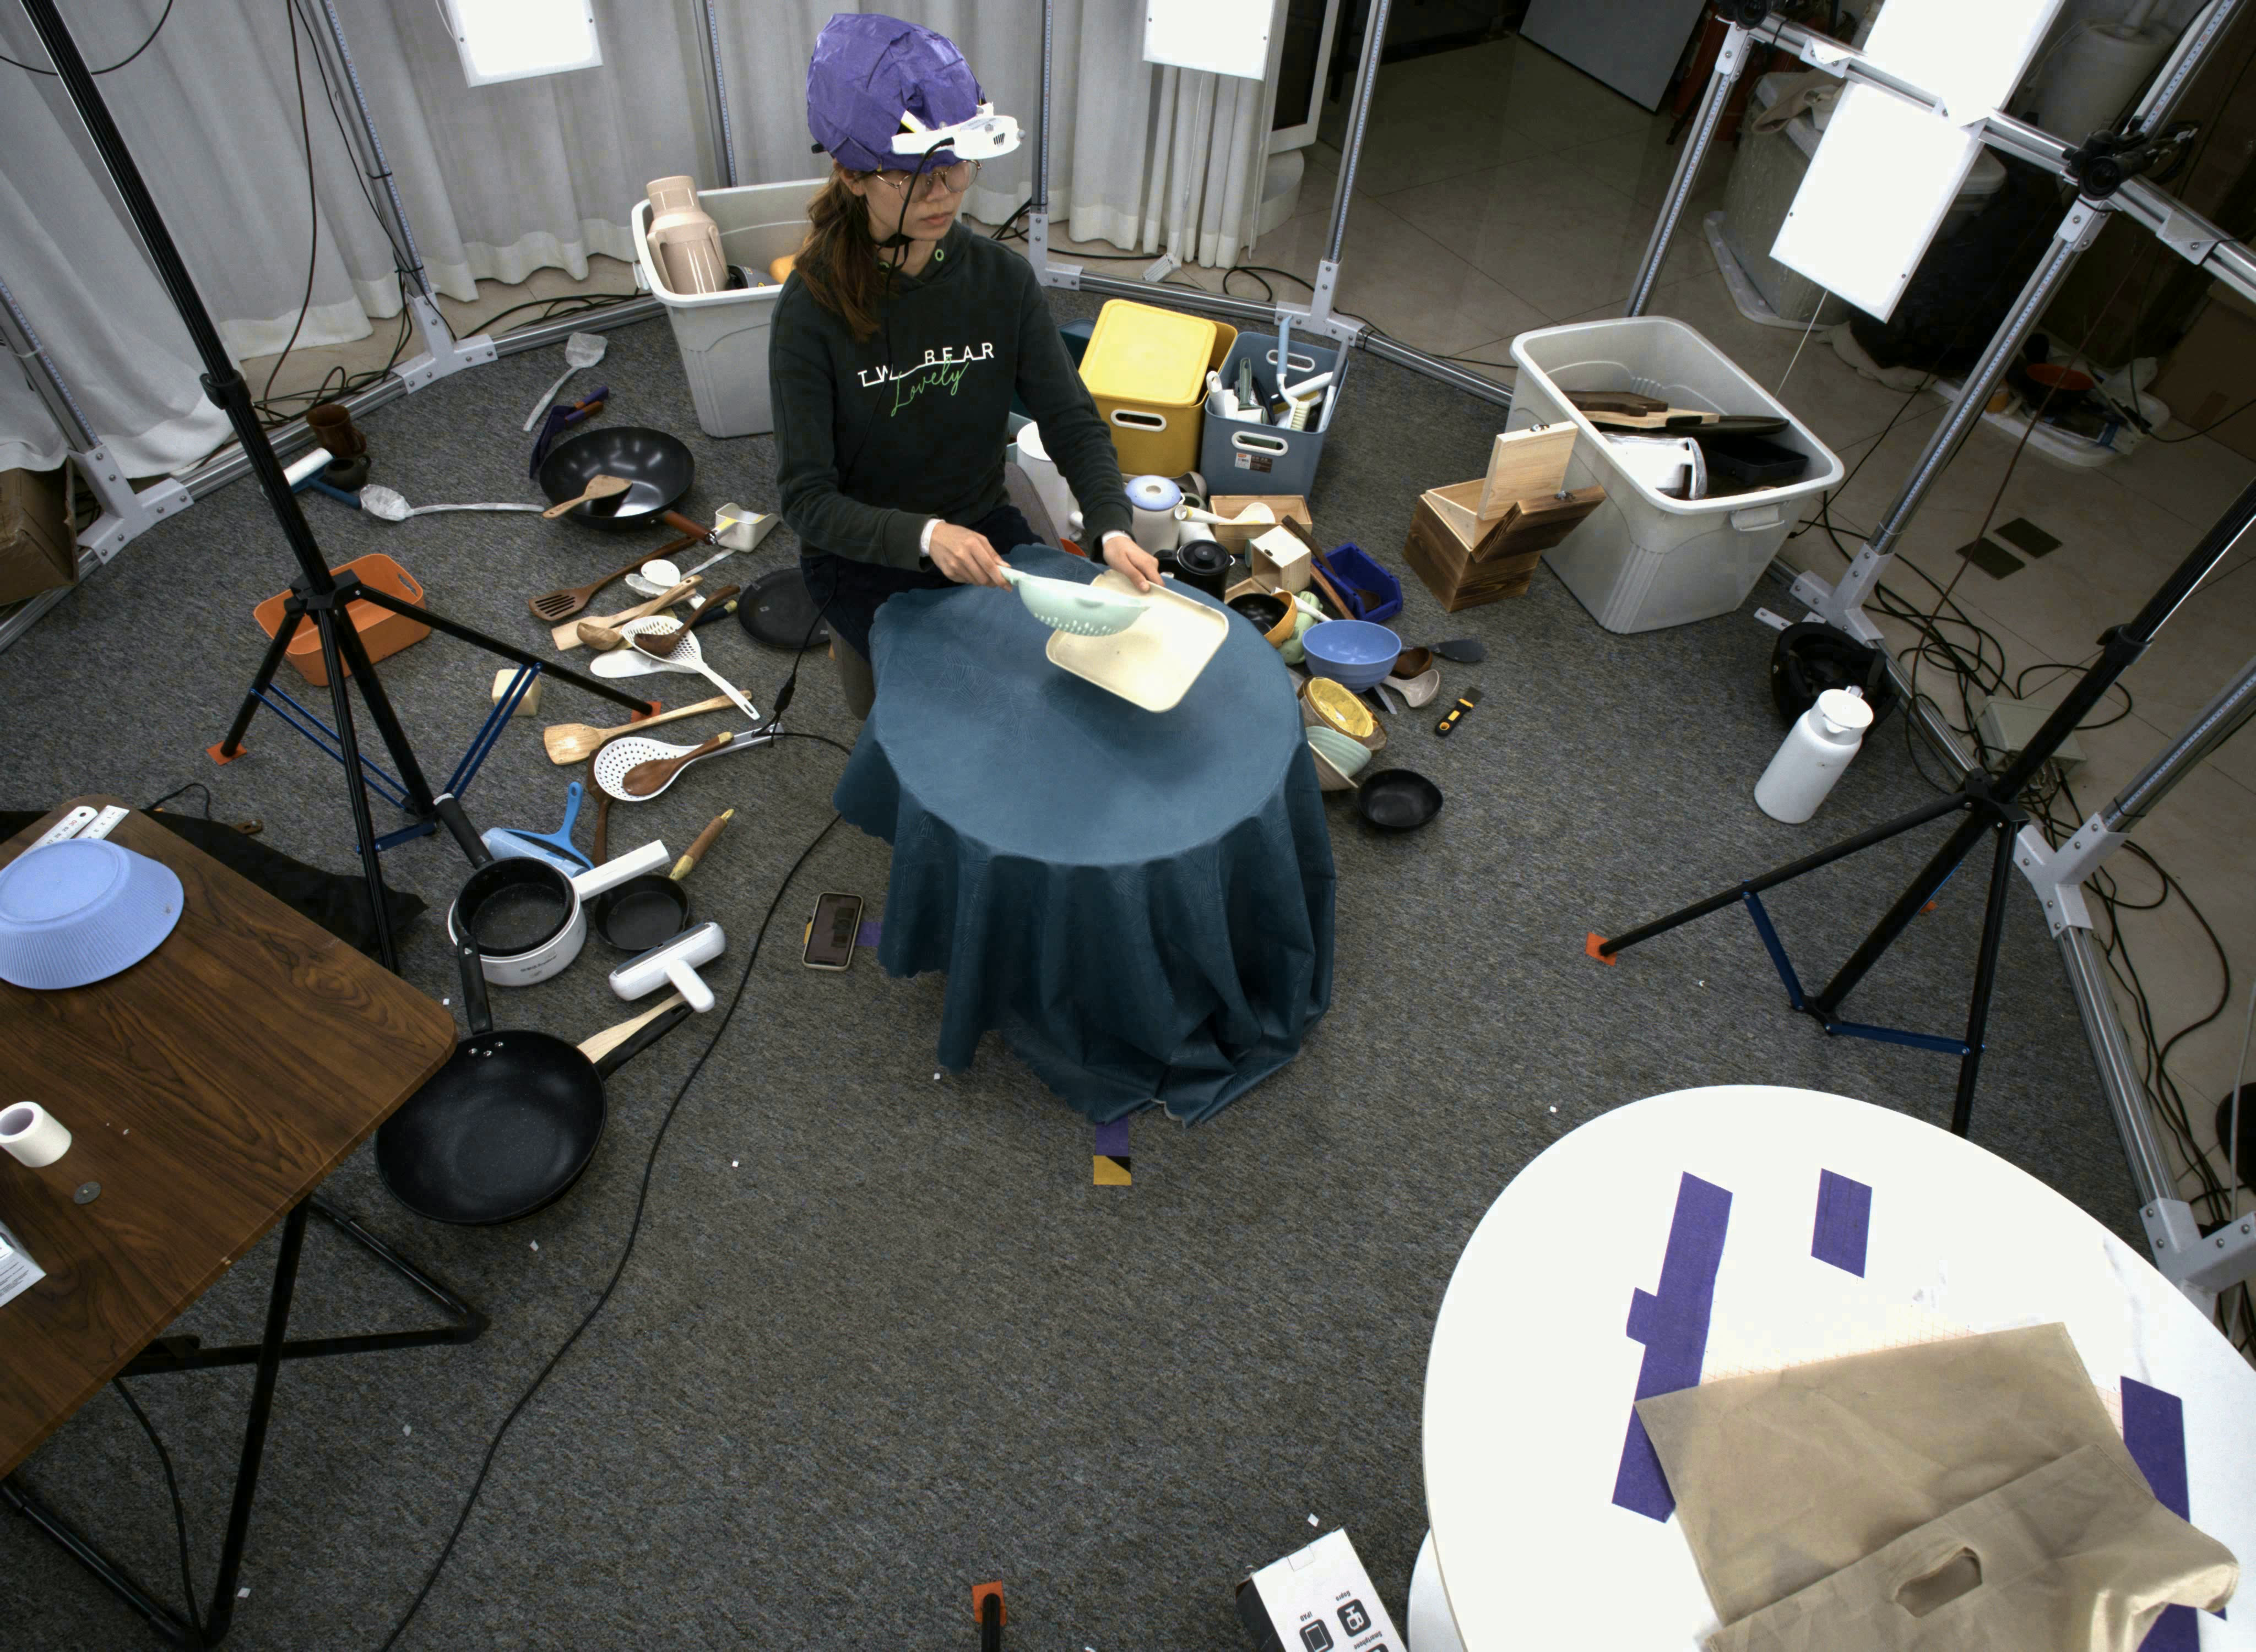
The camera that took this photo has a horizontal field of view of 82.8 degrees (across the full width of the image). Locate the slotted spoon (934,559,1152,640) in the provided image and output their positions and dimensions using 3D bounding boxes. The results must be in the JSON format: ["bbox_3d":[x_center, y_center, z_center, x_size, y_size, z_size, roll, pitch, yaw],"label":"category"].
[{"bbox_3d":[-0.136,-0.322,1.752,0.364,0.074,0.169,30,21,33],"label":"slotted spoon"}]

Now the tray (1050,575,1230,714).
[{"bbox_3d":[0.015,-0.253,1.783,0.243,0.017,0.172,28,75,34],"label":"tray"}]
